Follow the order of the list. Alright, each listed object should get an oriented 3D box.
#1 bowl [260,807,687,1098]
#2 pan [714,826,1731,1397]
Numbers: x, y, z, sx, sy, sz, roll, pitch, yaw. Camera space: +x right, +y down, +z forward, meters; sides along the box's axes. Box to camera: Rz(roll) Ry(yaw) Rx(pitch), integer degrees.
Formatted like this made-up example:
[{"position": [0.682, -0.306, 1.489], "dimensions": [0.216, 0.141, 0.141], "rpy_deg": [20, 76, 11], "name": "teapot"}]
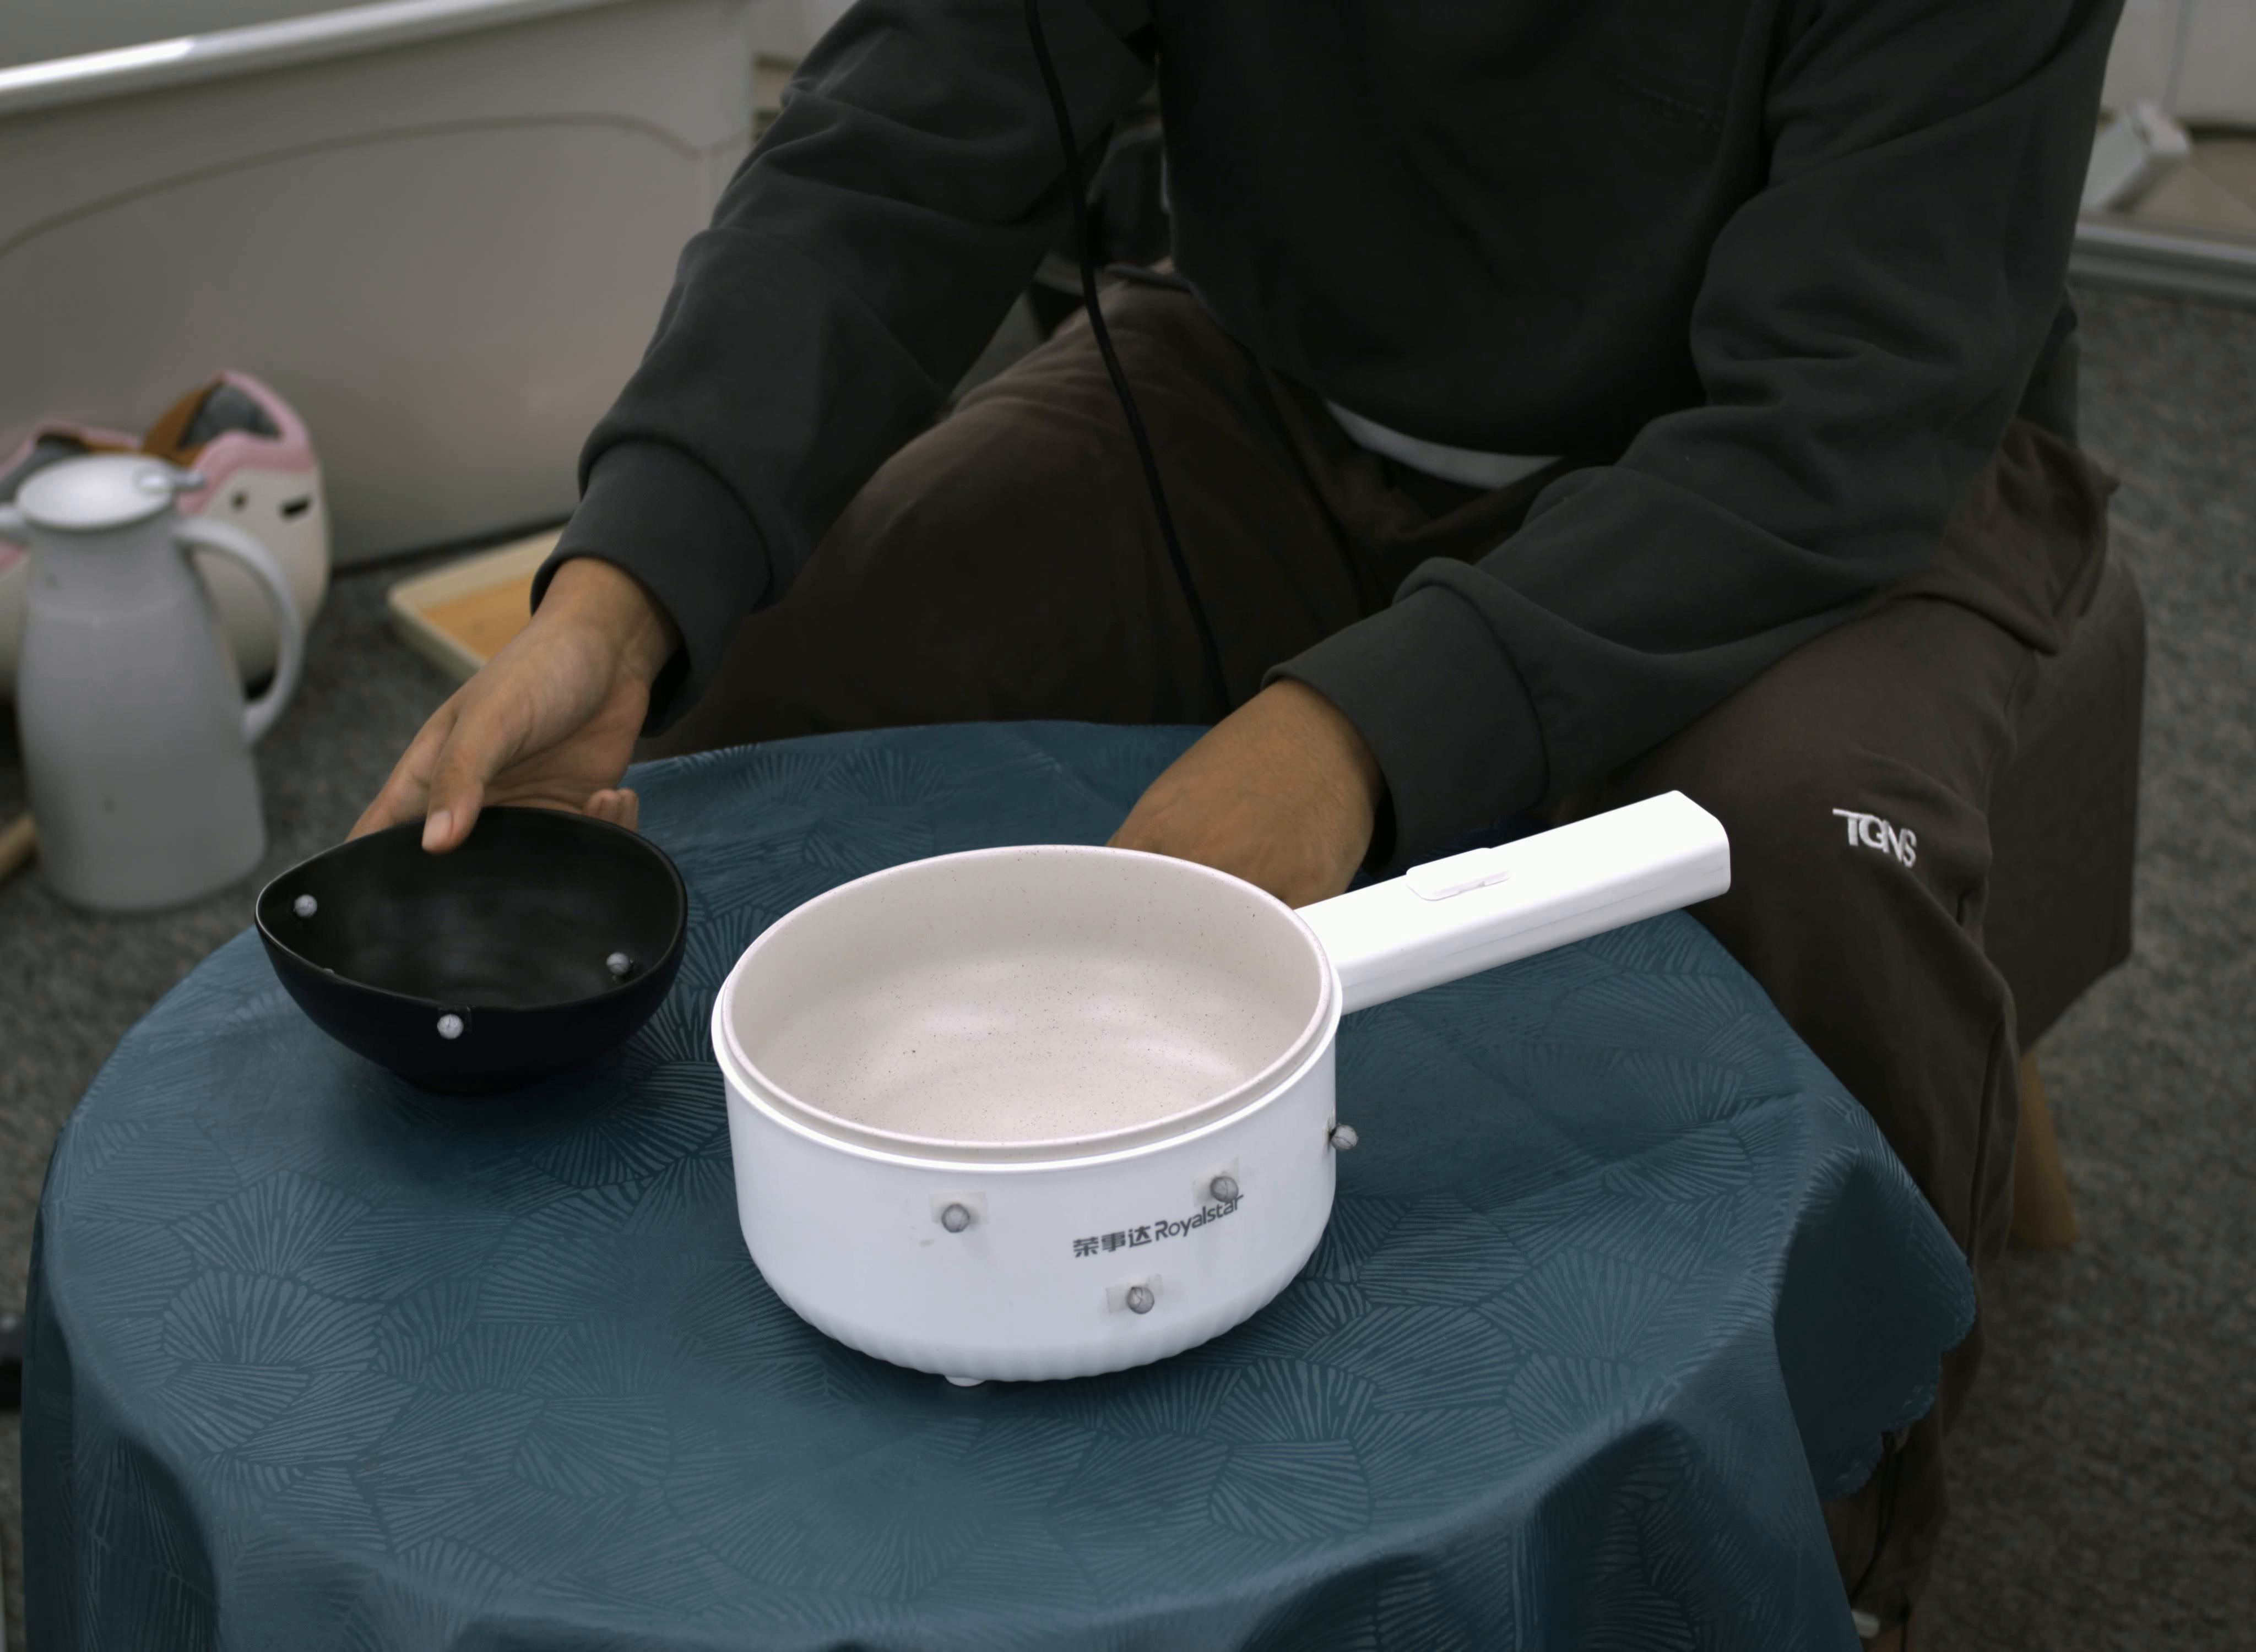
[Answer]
[{"position": [-0.226, 0.052, 1.950], "dimensions": [0.170, 0.066, 0.139], "rpy_deg": [20, 35, 40], "name": "bowl"}, {"position": [0.038, 0.085, 1.843], "dimensions": [0.356, 0.101, 0.202], "rpy_deg": [-14, 25, -25], "name": "pan"}]
